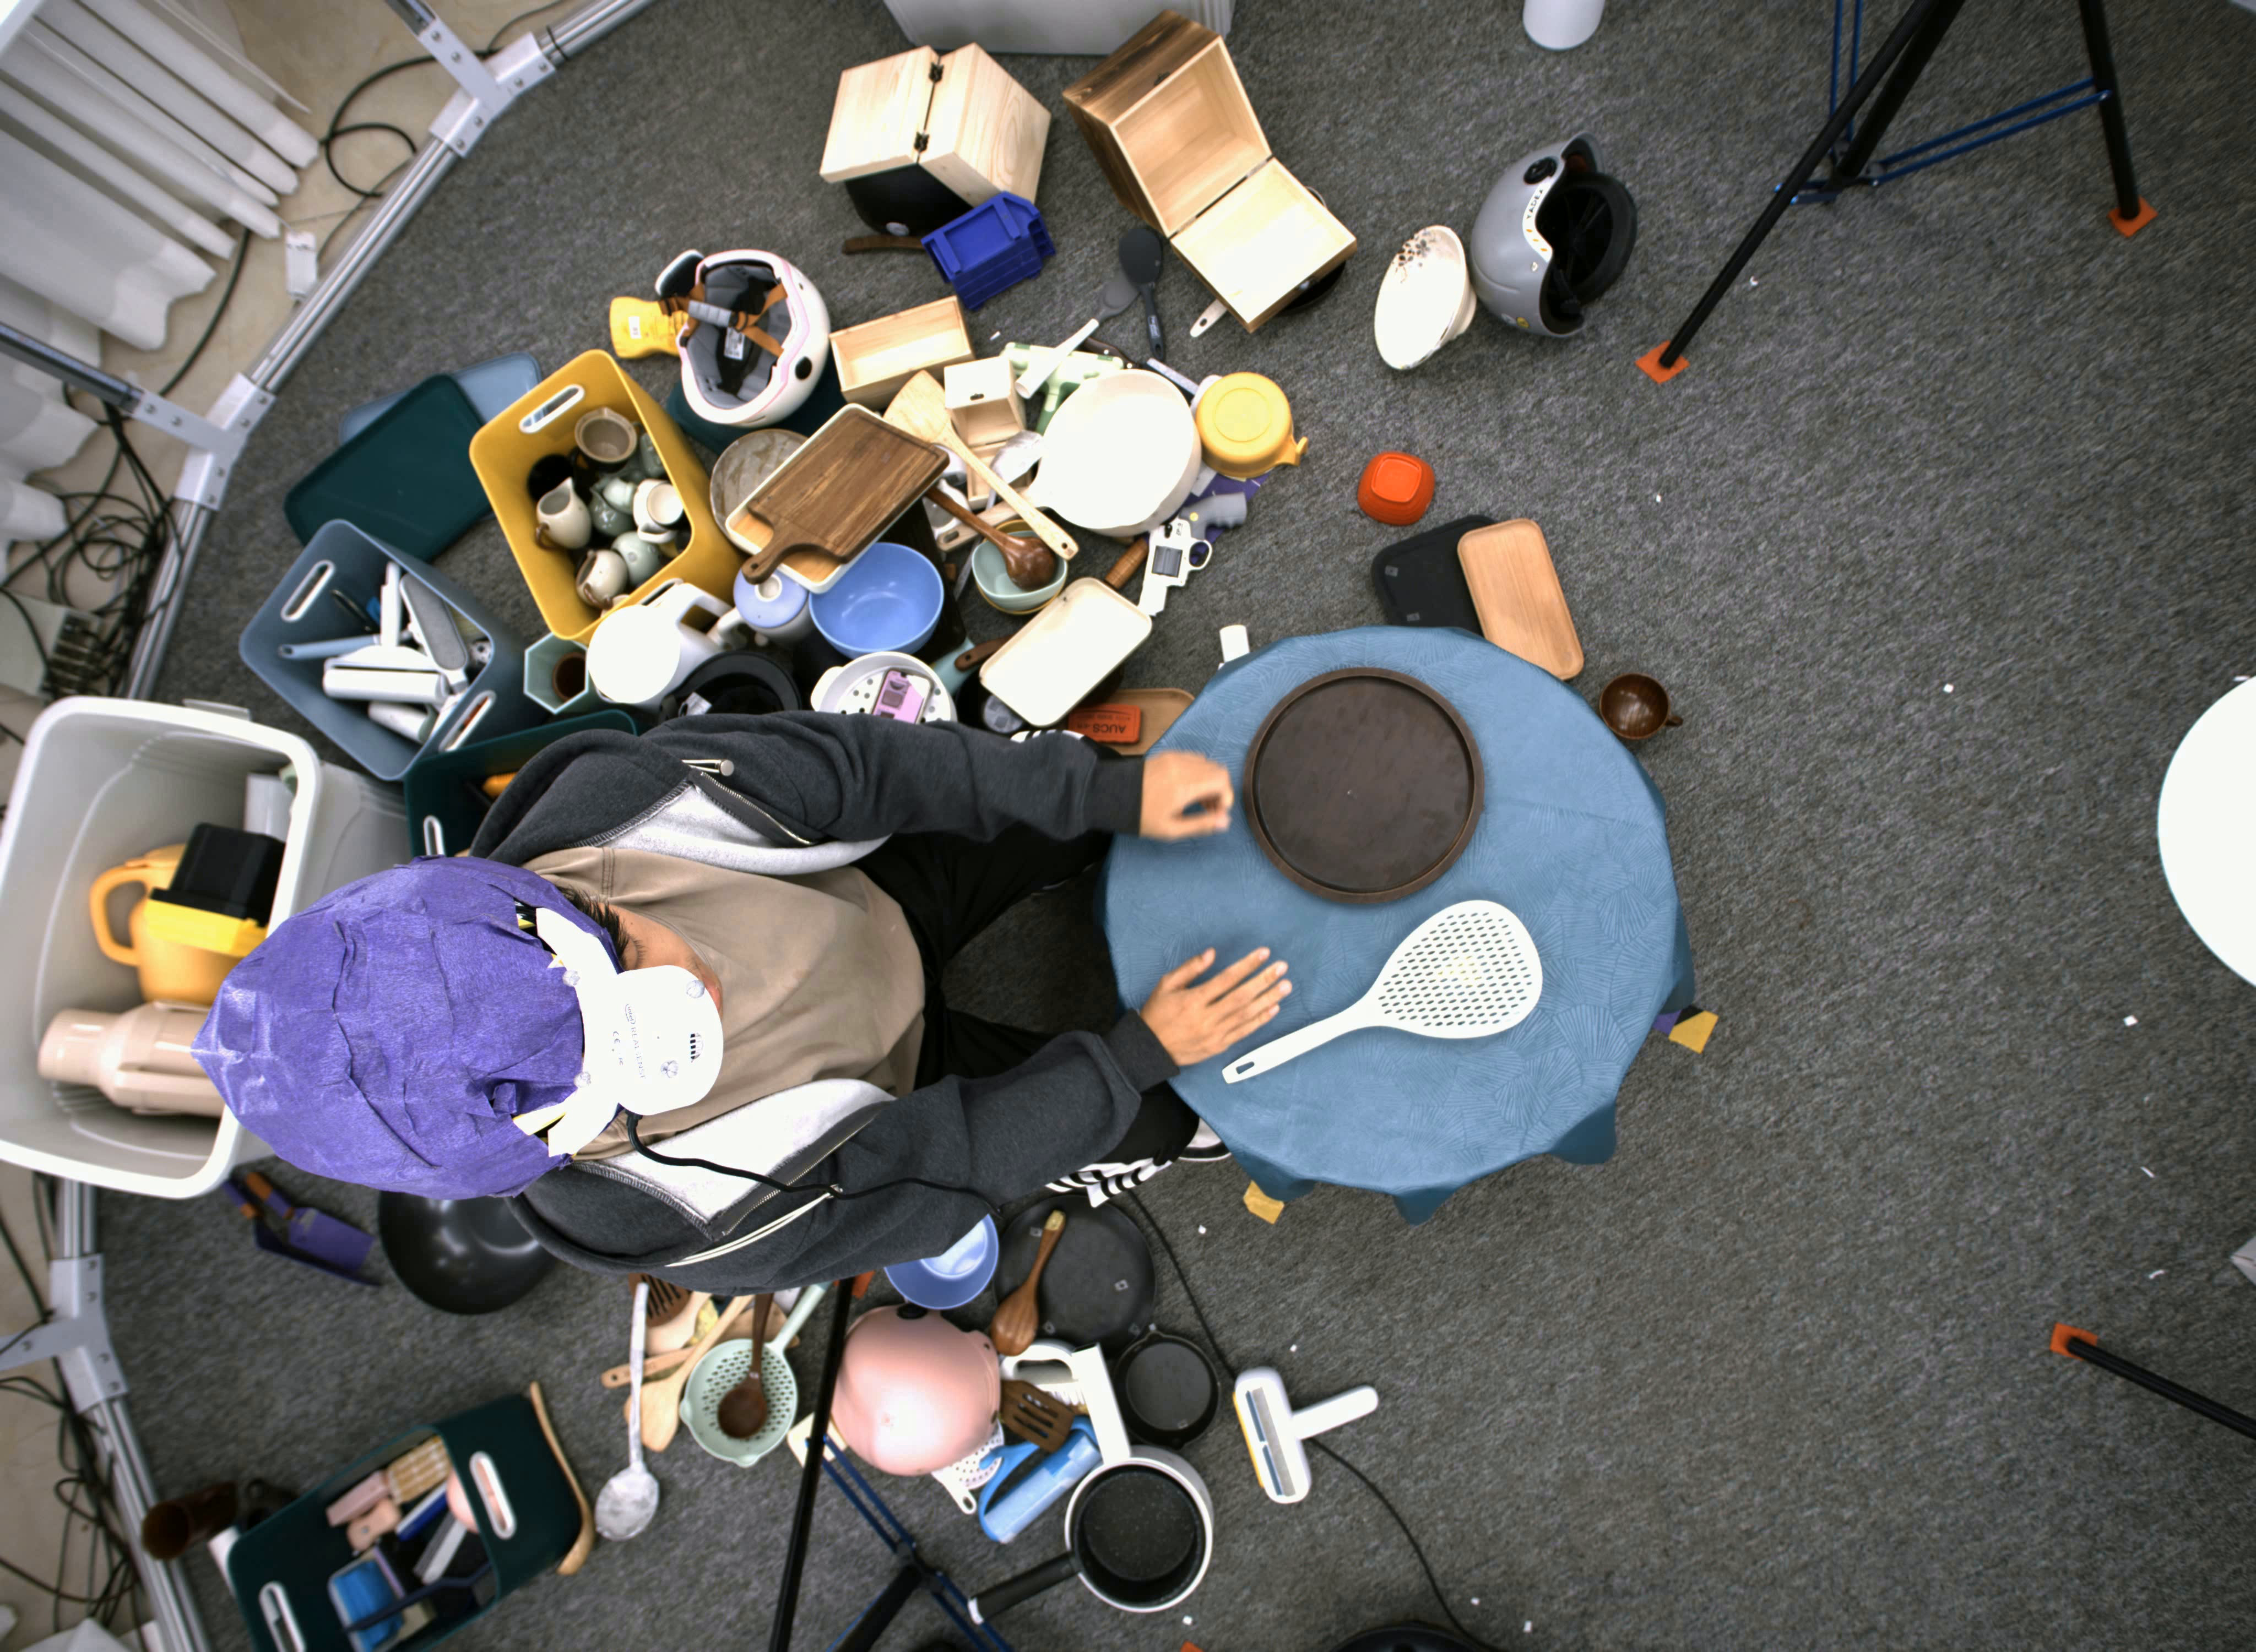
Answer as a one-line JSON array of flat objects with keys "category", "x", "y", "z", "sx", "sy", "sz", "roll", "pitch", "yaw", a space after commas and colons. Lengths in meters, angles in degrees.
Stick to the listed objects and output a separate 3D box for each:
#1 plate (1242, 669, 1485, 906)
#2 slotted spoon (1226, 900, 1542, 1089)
[{"category": "plate", "x": 0.247, "y": -0.043, "z": 1.458, "sx": 0.256, "sy": 0.029, "sz": 0.254, "roll": -1, "pitch": 88, "yaw": 10}, {"category": "slotted spoon", "x": 0.256, "y": 0.191, "z": 1.434, "sx": 0.350, "sy": 0.050, "sz": 0.136, "roll": -25, "pitch": 85, "yaw": 8}]
